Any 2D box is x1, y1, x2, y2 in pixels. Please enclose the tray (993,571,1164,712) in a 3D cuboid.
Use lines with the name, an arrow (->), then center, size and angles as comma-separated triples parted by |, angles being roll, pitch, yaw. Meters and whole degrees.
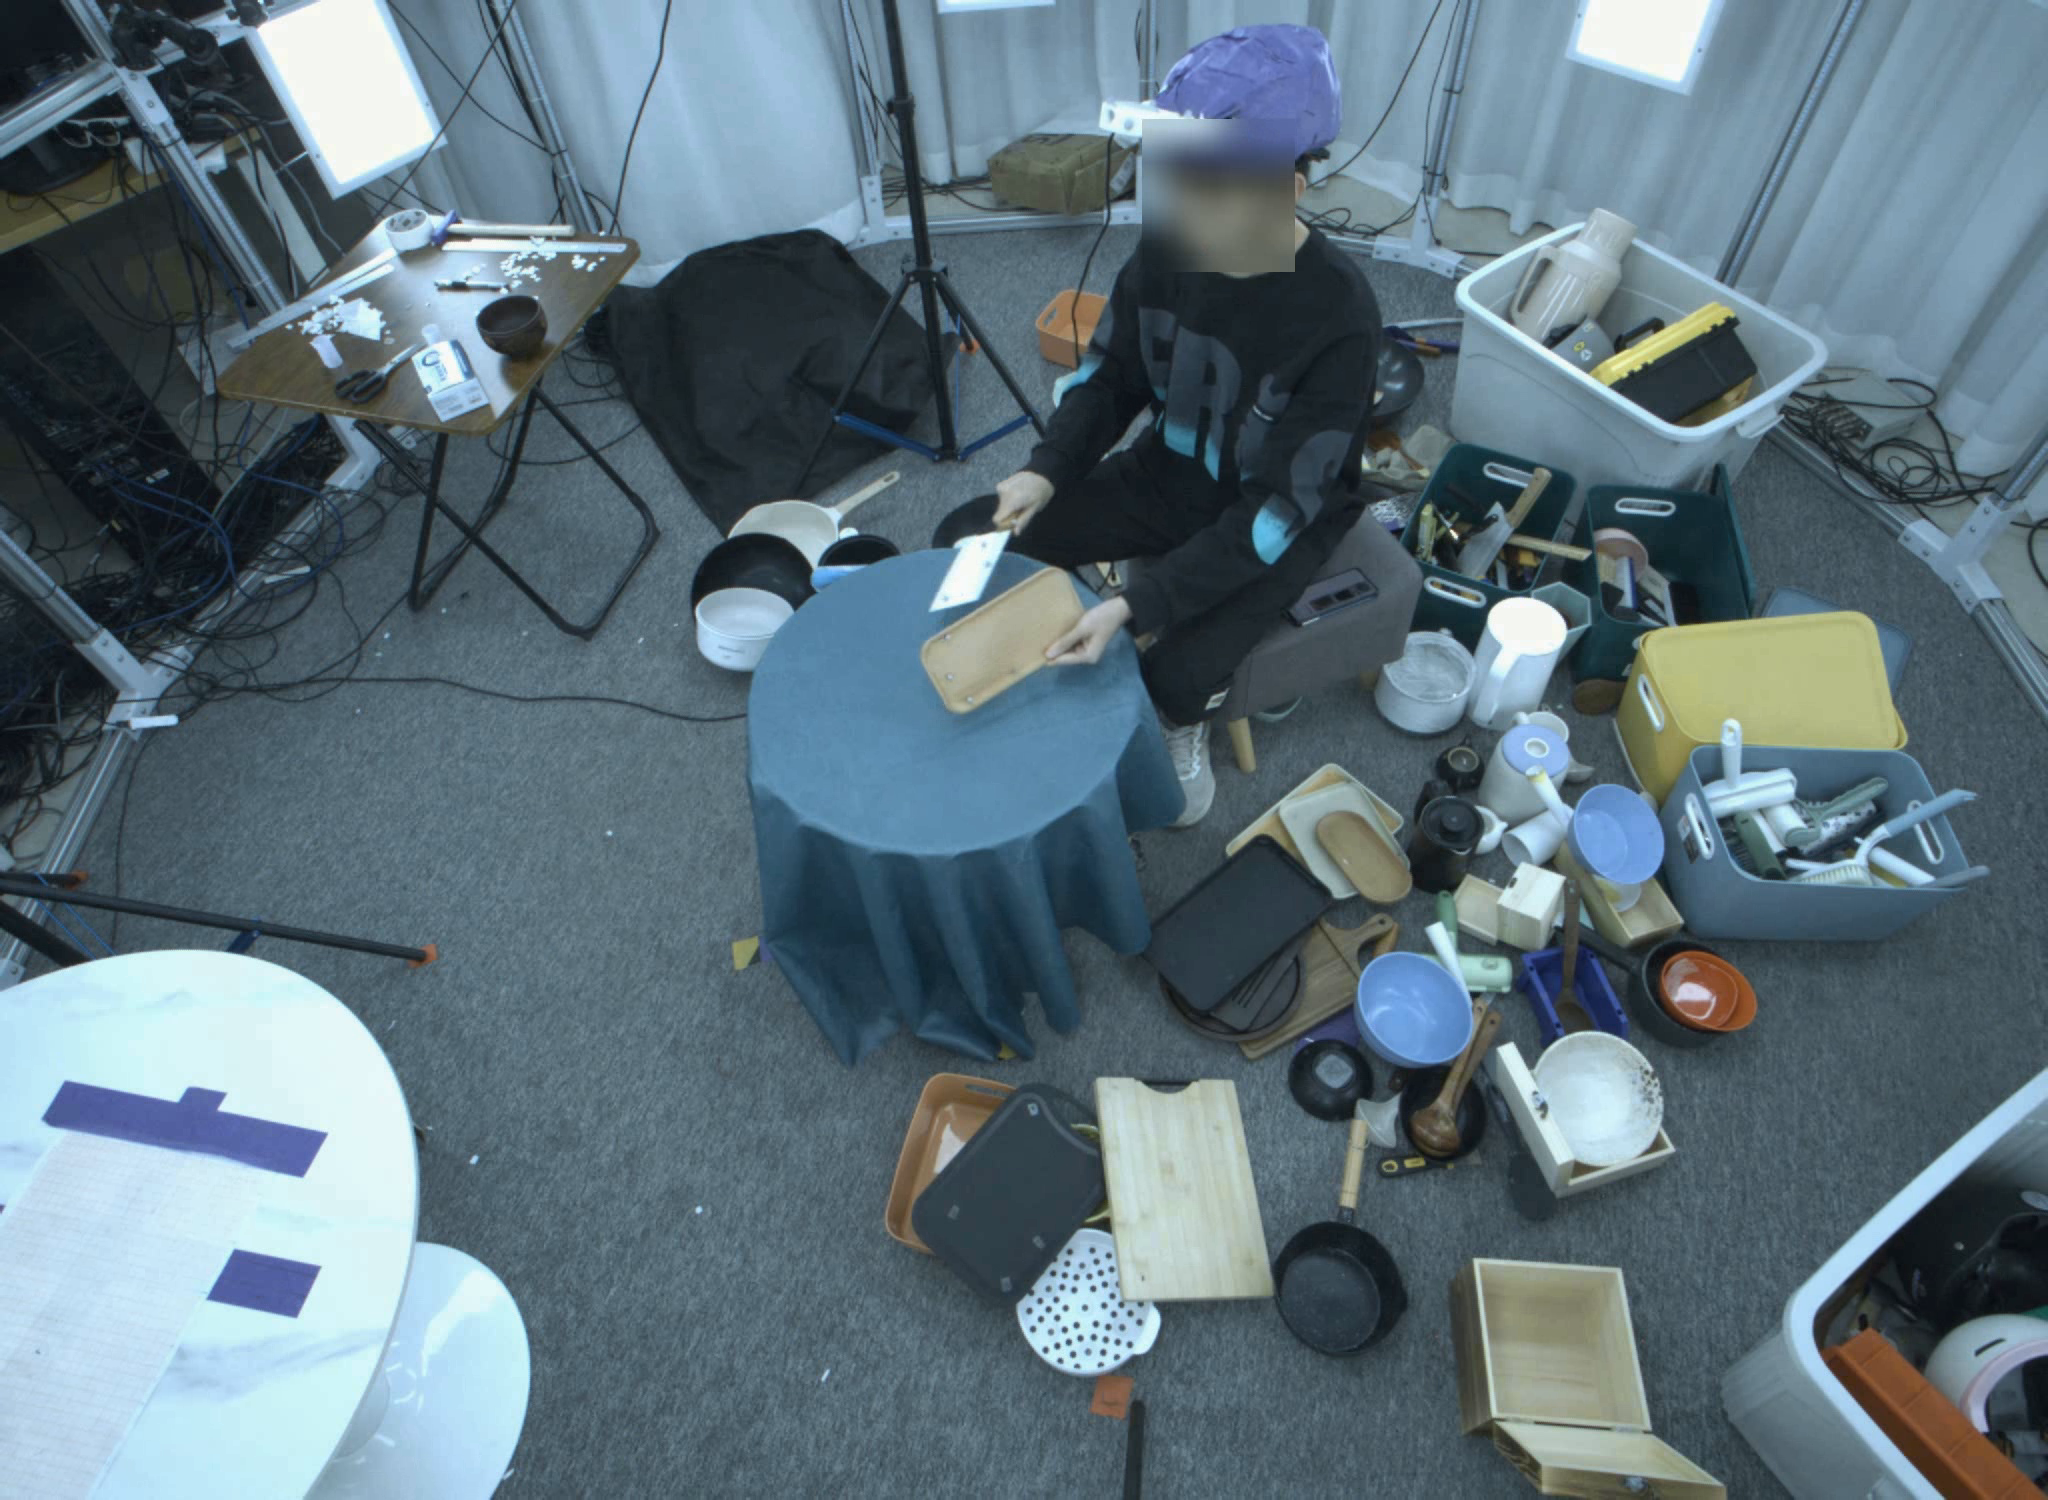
tray -> 0.080, -0.158, 1.781 | 0.252, 0.132, 0.022 | -28, 30, -10

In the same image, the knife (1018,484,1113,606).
knife -> 0.063, -0.321, 1.915 | 0.091, 0.021, 0.305 | -6, 40, 31
